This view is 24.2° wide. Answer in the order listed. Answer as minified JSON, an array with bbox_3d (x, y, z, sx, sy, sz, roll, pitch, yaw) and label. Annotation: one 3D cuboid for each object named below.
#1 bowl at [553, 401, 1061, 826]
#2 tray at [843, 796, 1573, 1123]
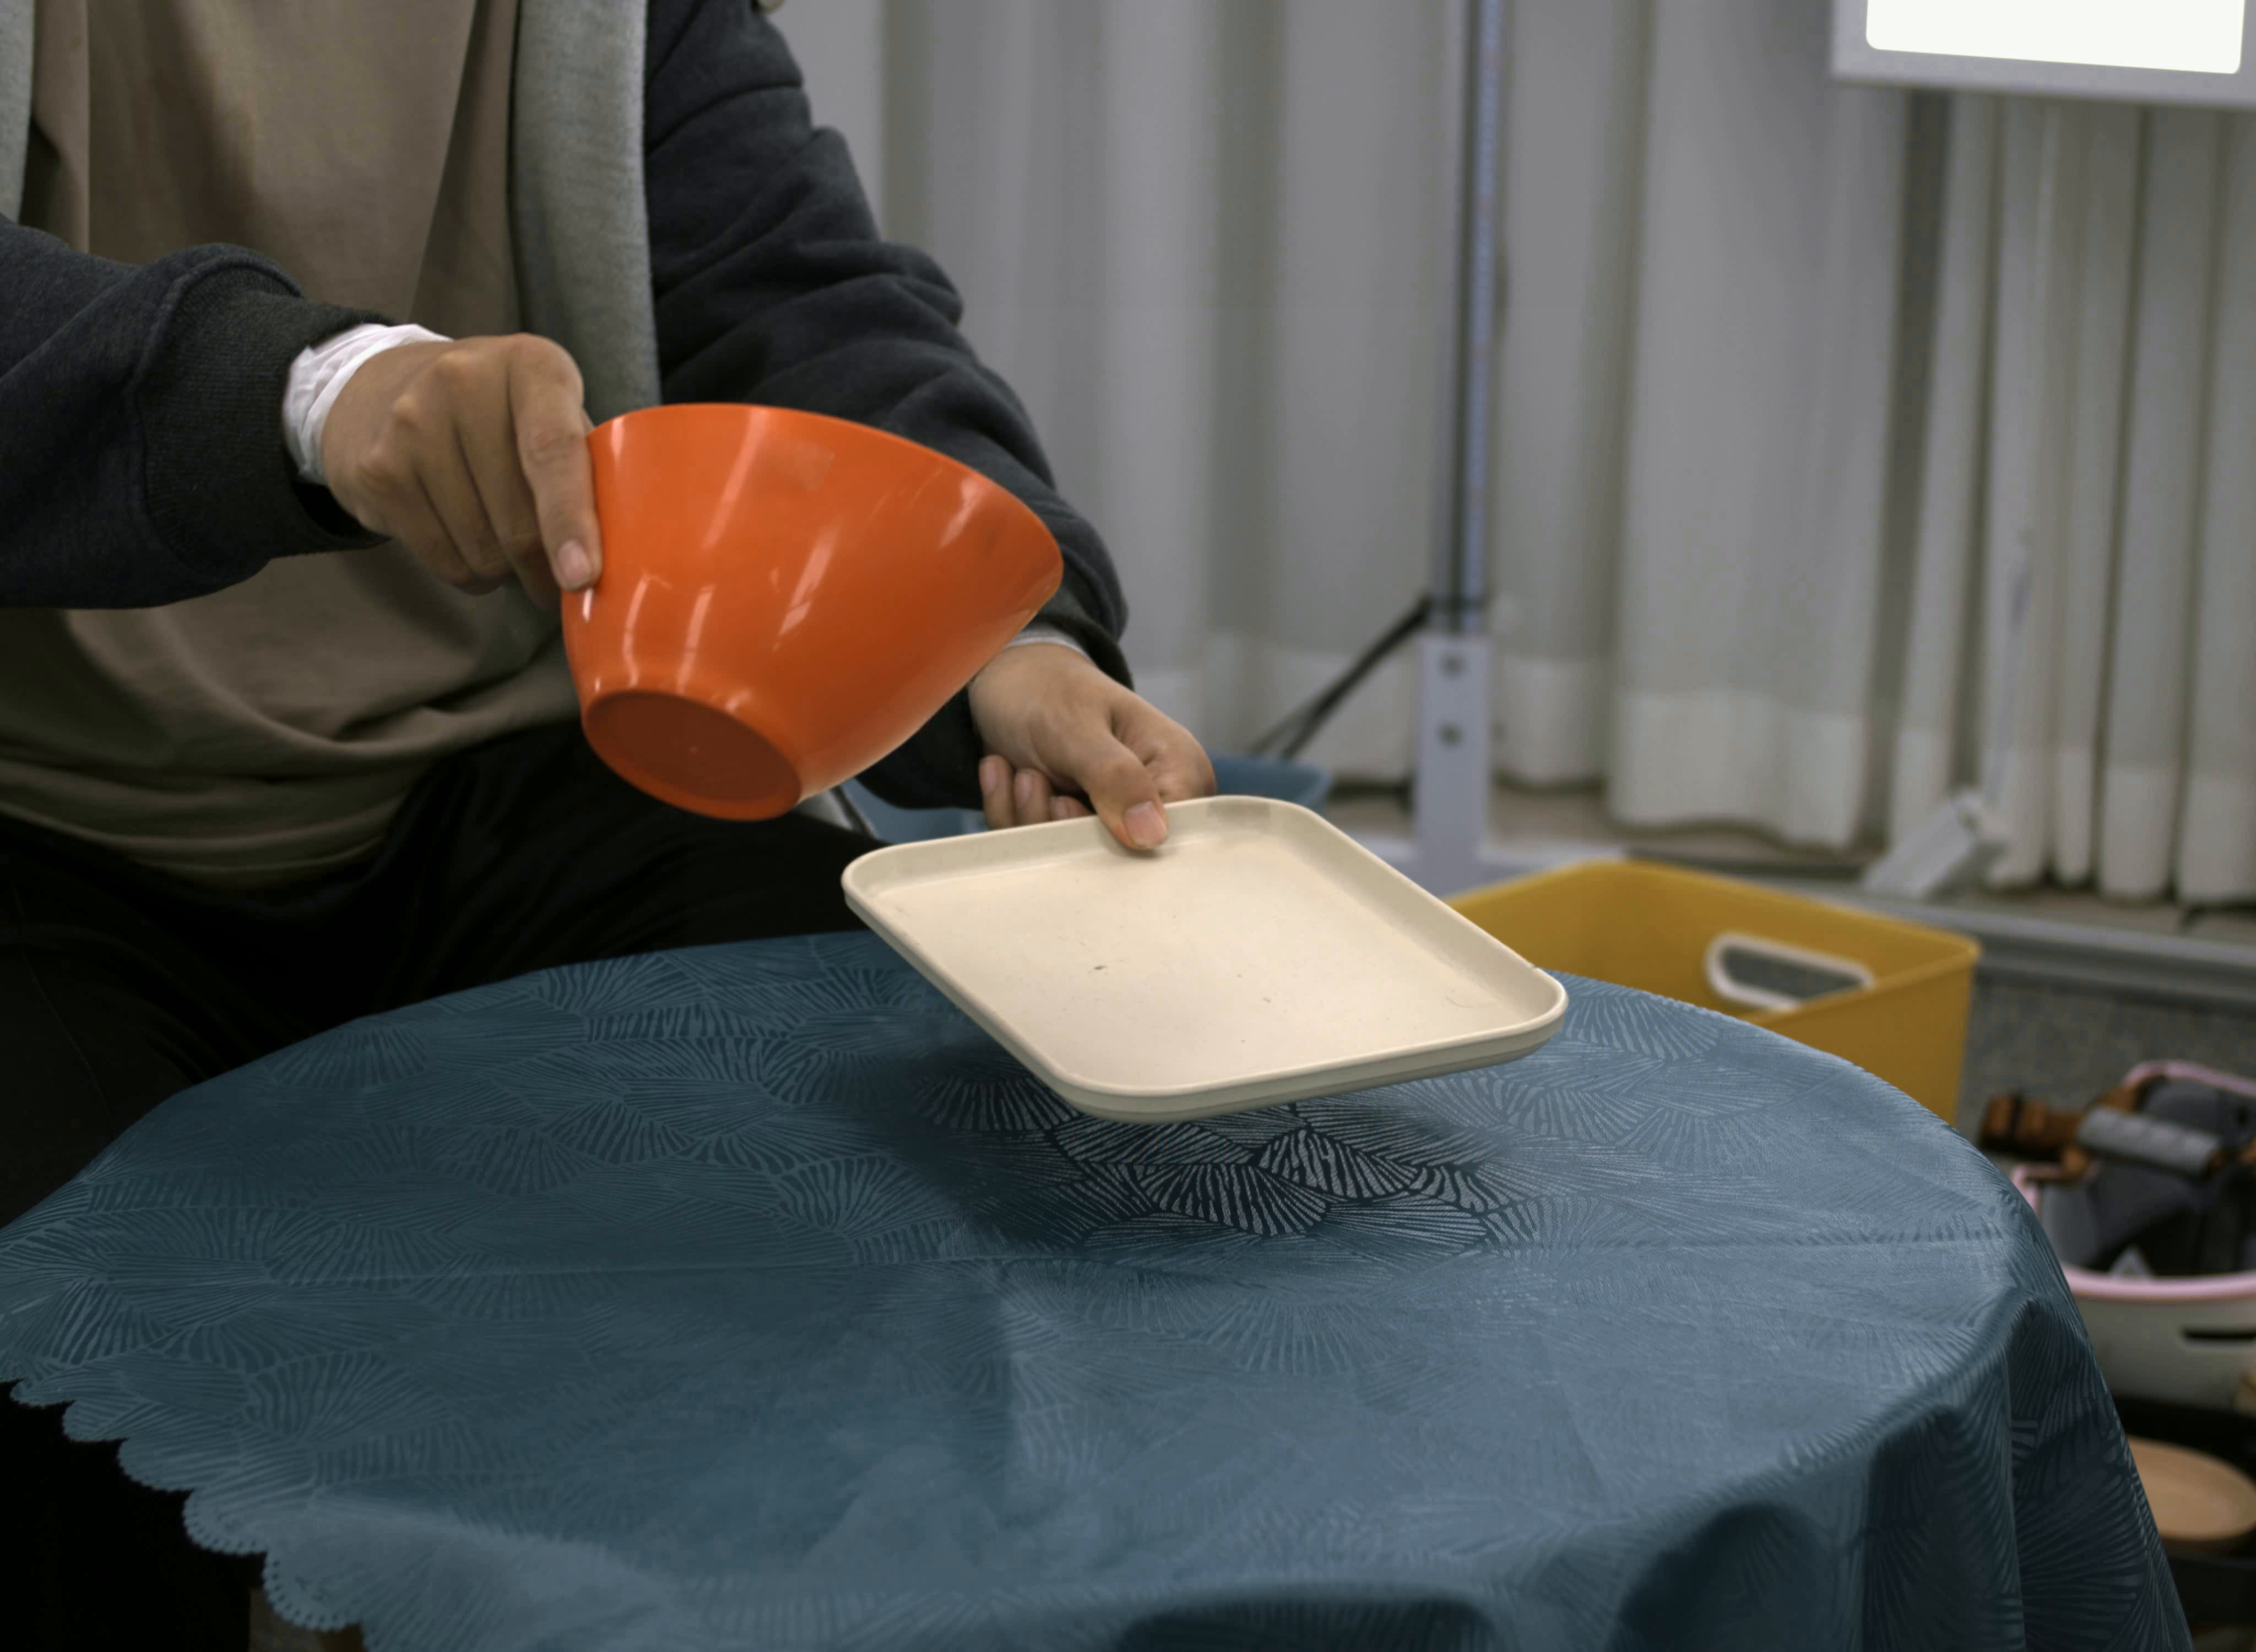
[{"bbox_3d":[-0.105,-0.054,1.531,0.146,0.150,0.104,8,60,23],"label":"bowl"},{"bbox_3d":[0.022,0.041,1.674,0.172,0.017,0.237,-9,21,-22],"label":"tray"}]
